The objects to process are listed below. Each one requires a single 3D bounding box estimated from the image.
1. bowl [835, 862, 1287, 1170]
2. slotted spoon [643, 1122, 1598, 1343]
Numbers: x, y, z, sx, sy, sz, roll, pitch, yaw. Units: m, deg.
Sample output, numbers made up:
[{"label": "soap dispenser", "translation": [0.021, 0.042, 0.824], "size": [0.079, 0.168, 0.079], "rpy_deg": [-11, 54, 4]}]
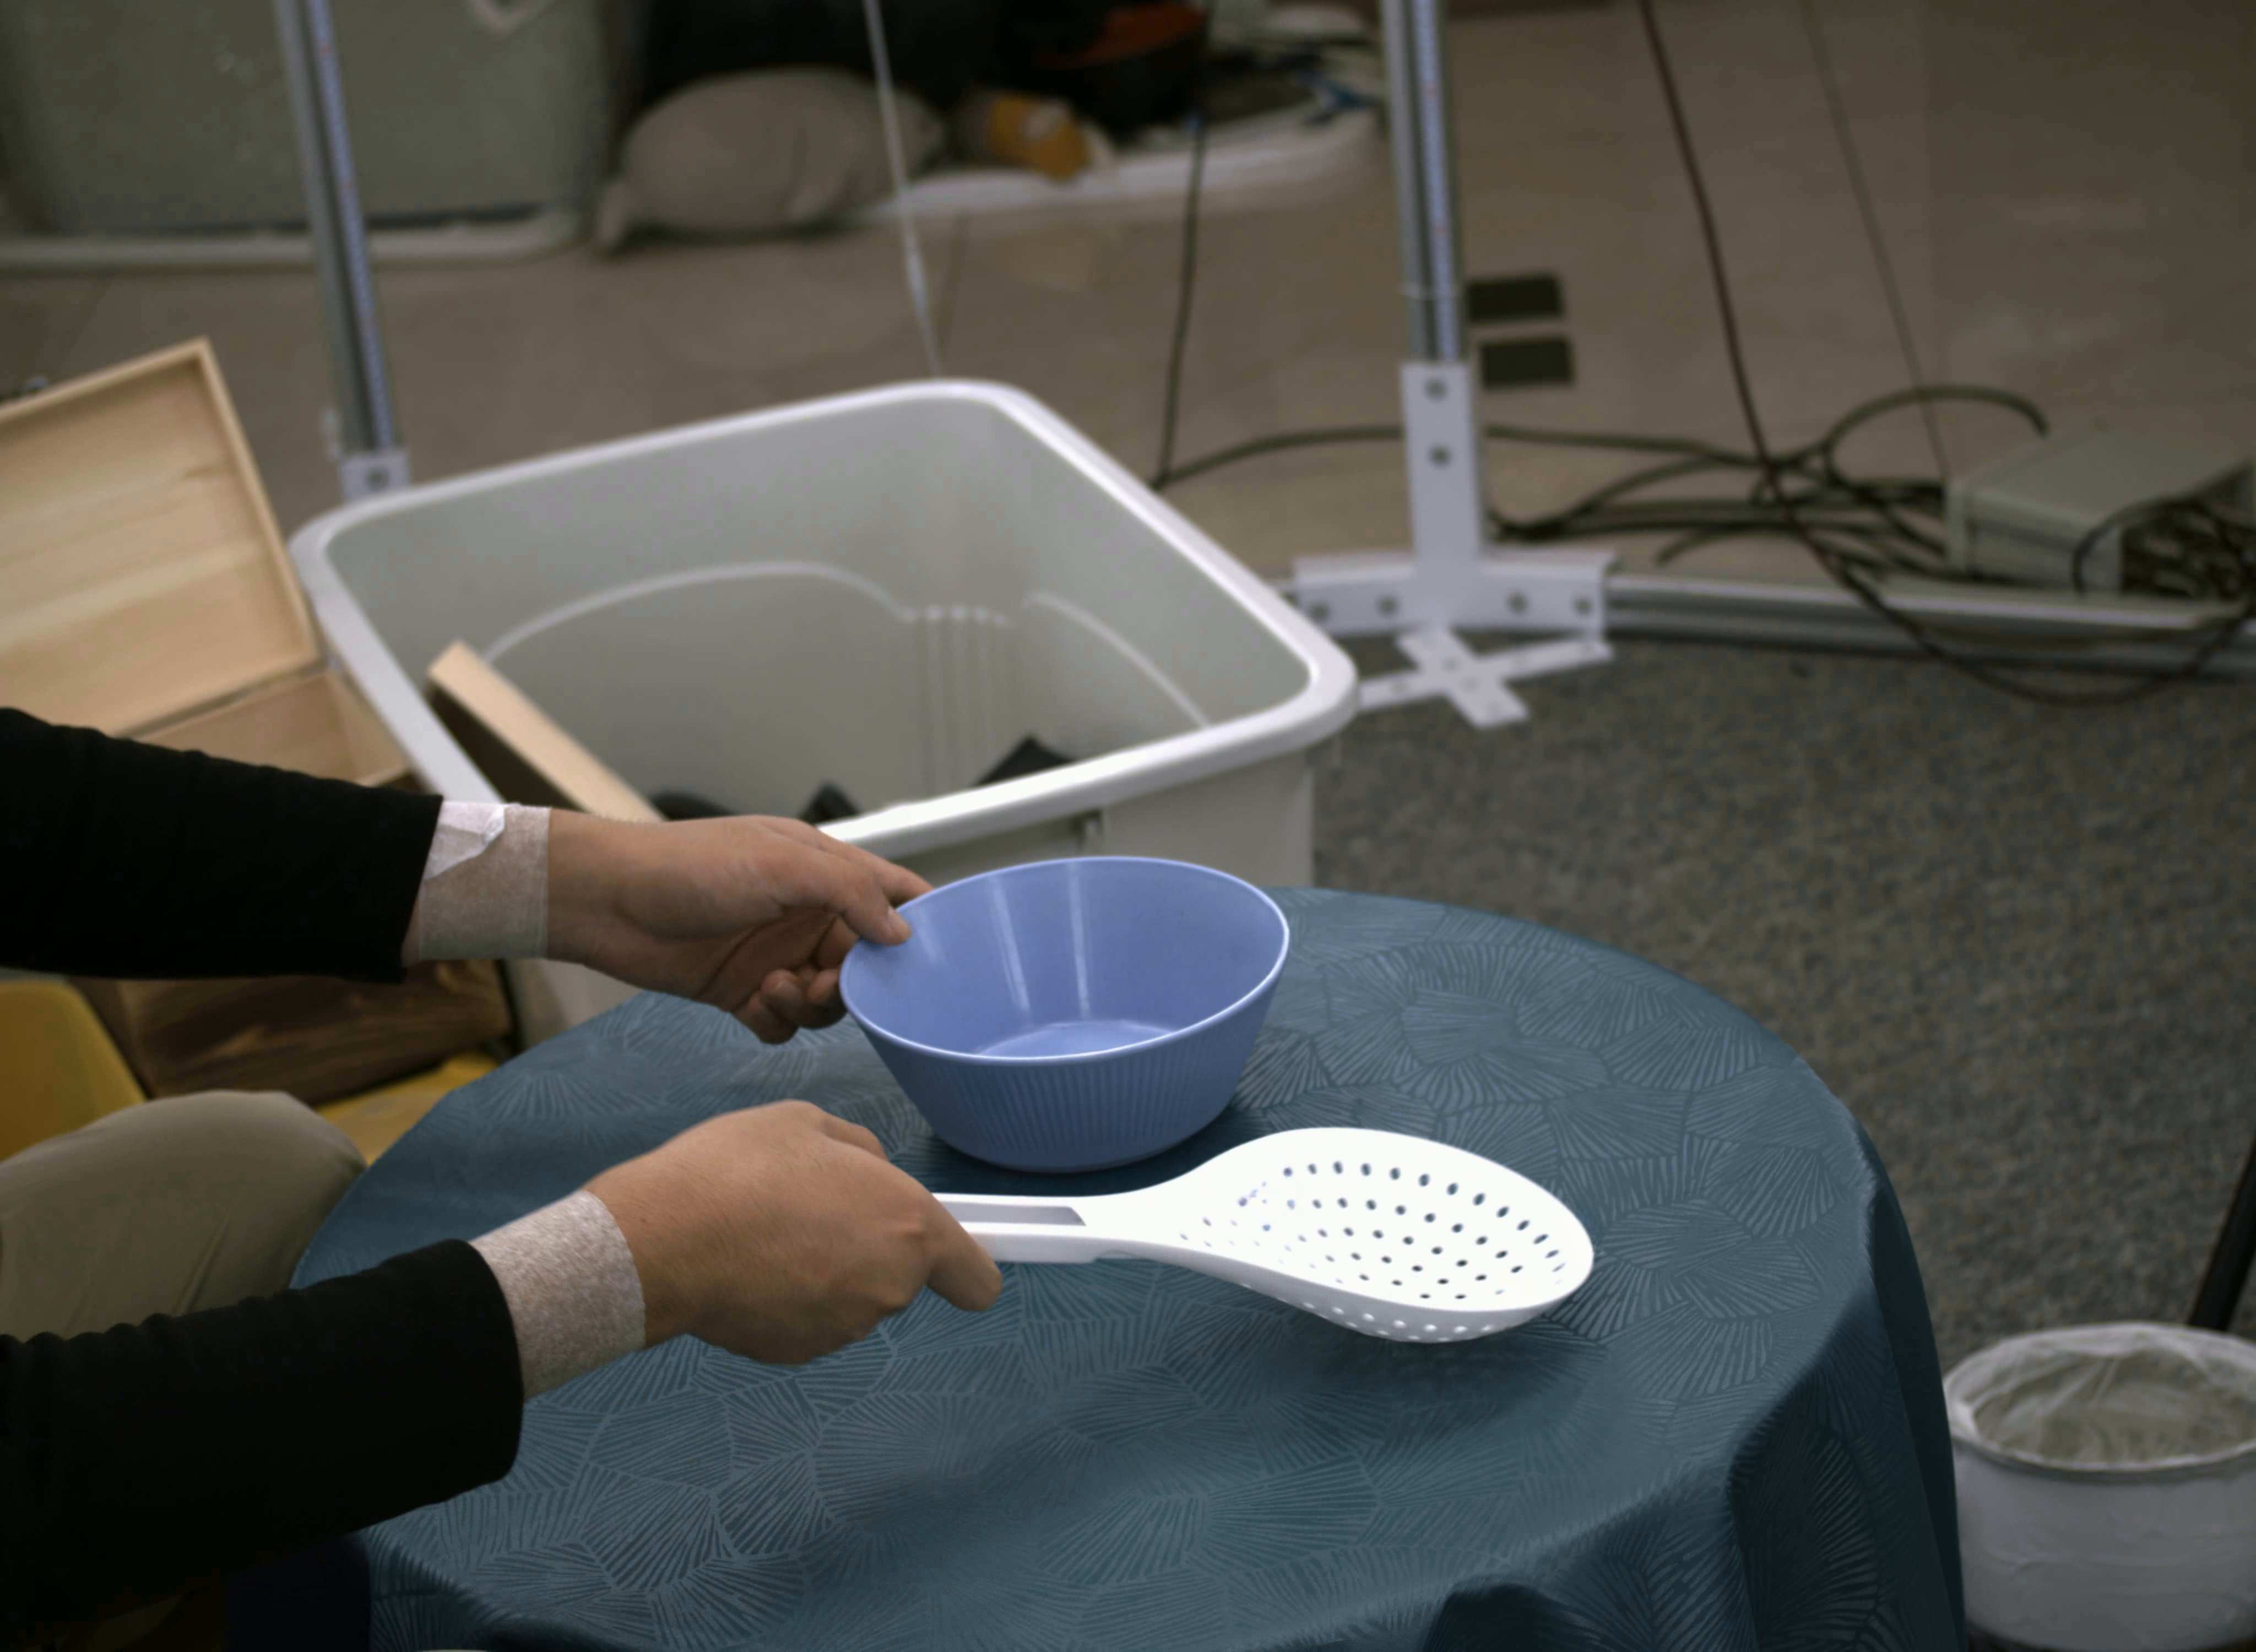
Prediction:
[{"label": "bowl", "translation": [-0.022, 0.079, 2.198], "size": [0.176, 0.071, 0.173], "rpy_deg": [-6, 25, 3]}, {"label": "slotted spoon", "translation": [0.000, 0.142, 1.983], "size": [0.350, 0.046, 0.134], "rpy_deg": [6, 25, -24]}]
